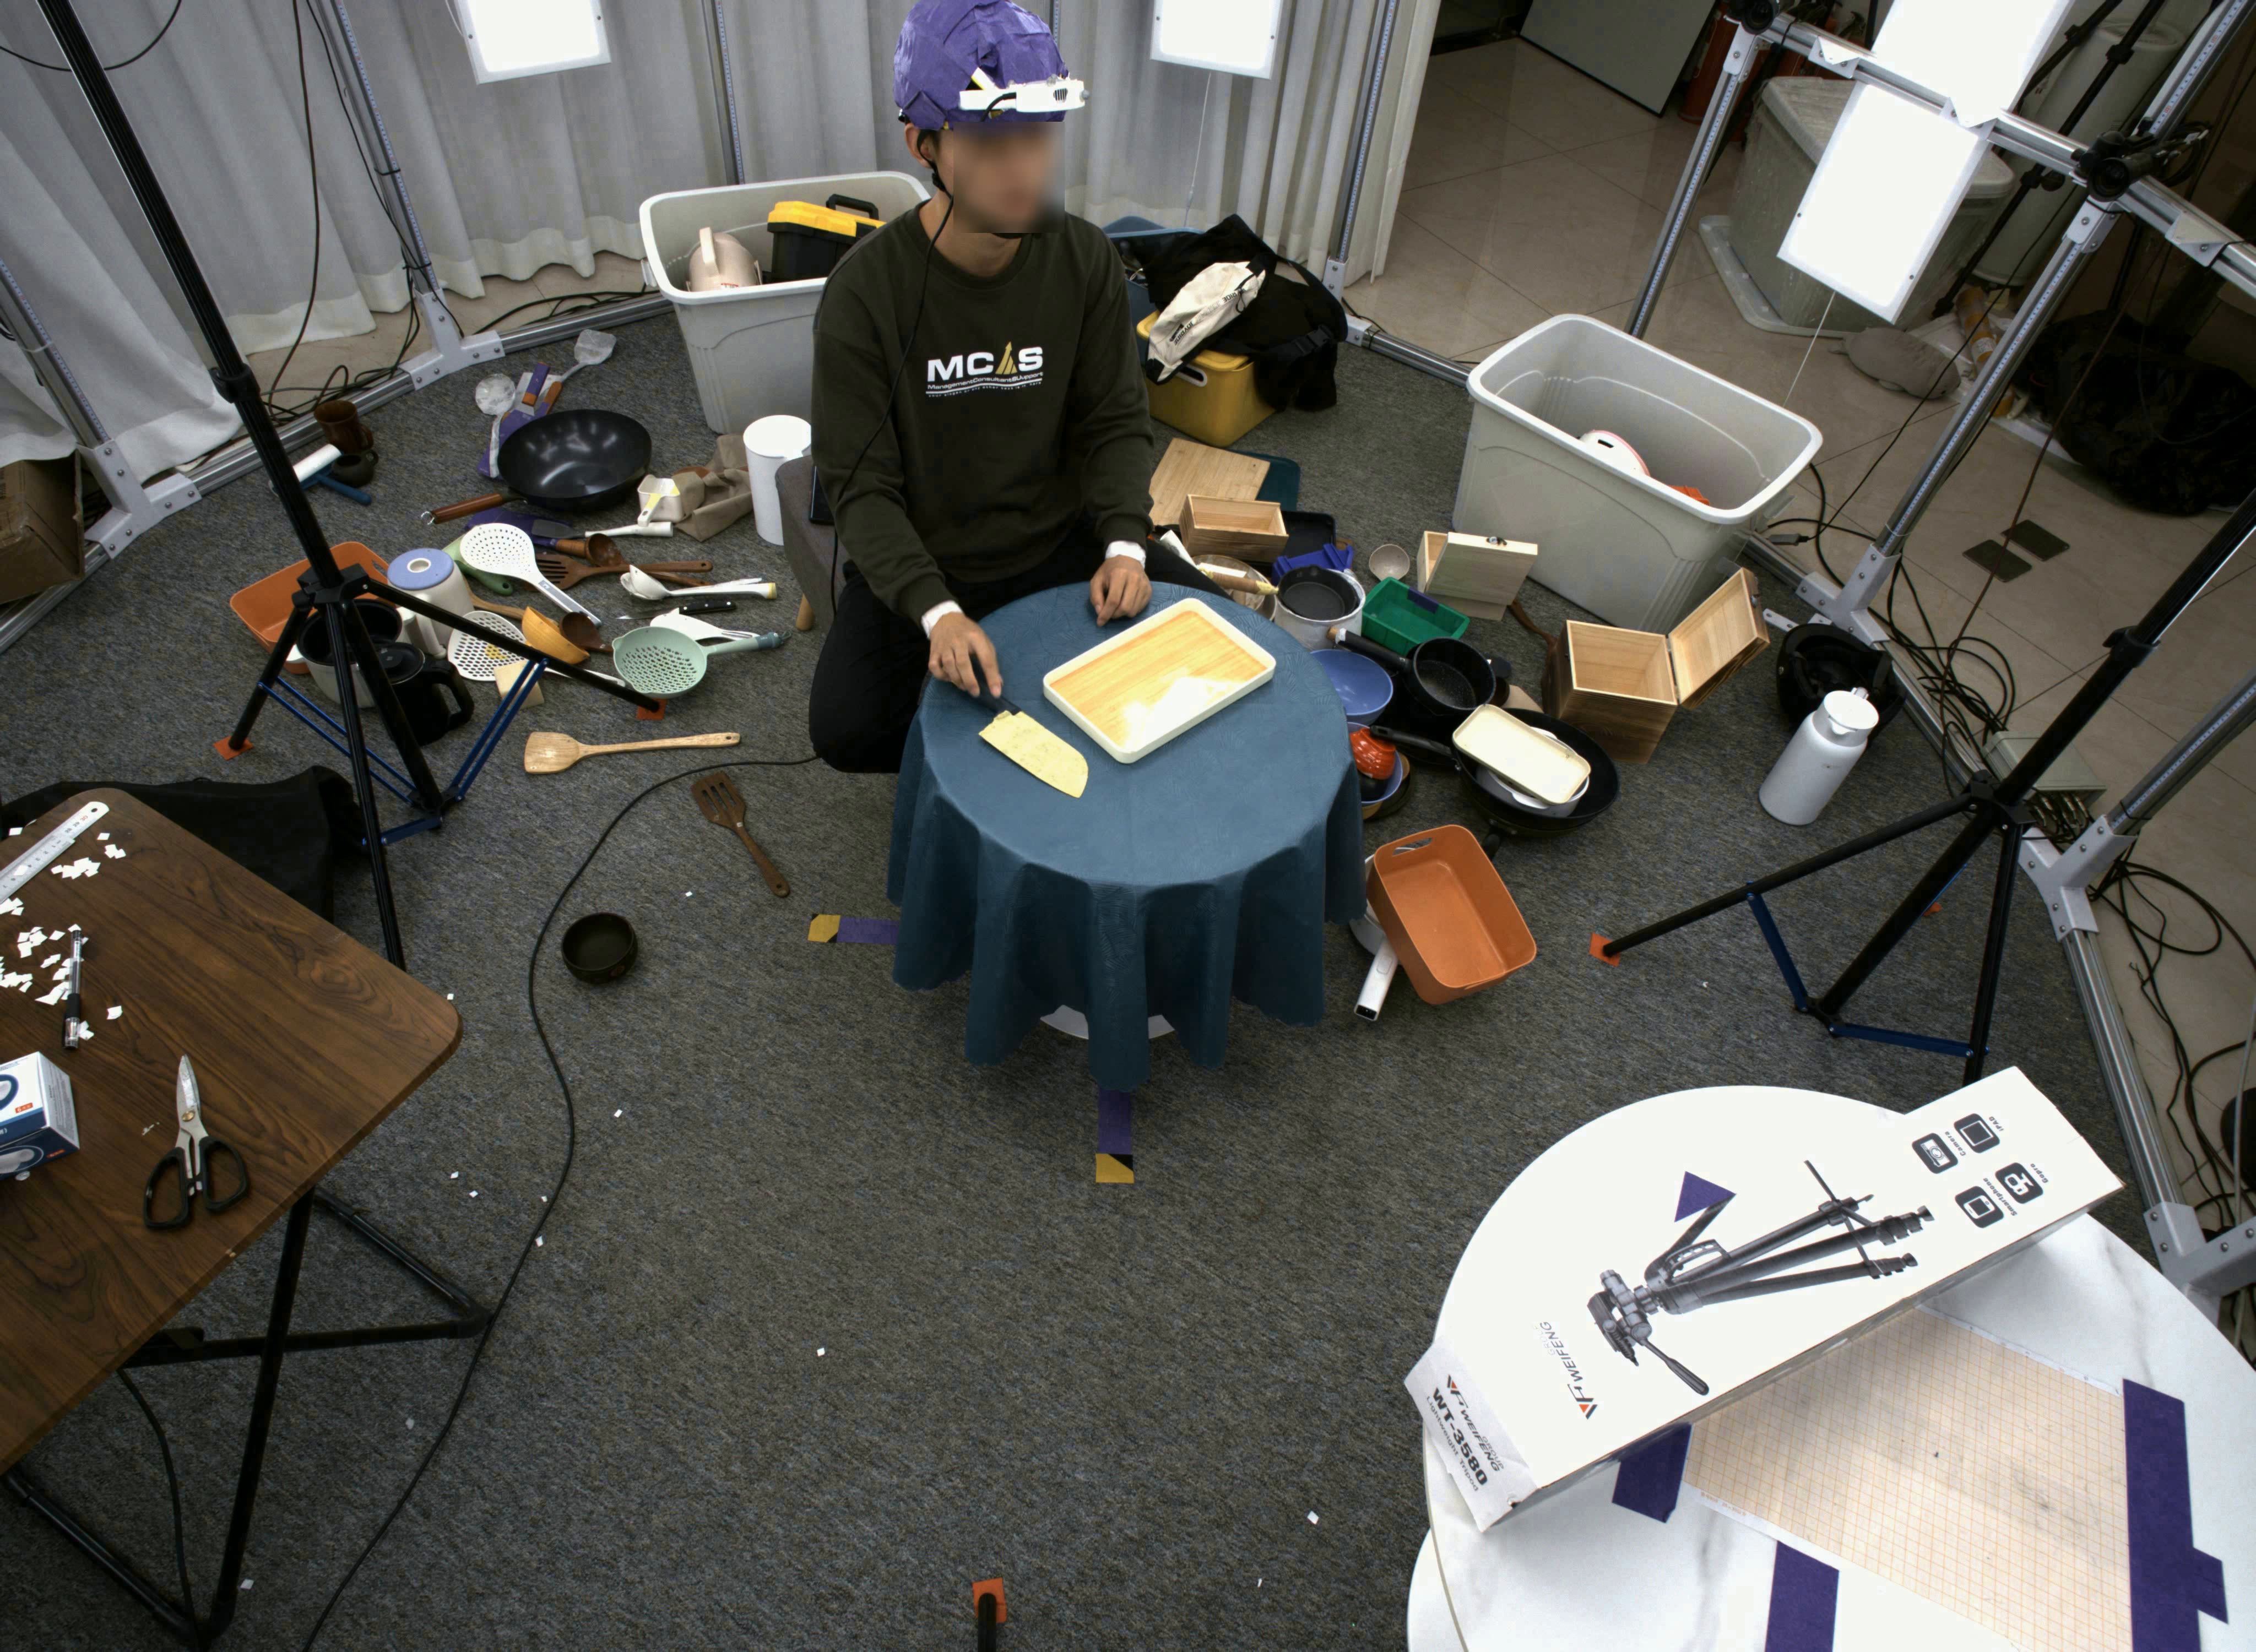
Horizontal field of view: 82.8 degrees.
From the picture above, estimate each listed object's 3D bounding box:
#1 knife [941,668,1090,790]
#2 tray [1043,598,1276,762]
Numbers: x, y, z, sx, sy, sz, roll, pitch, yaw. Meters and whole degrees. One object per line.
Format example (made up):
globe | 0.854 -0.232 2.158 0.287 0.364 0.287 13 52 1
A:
knife | -0.162 -0.133 1.762 0.293 0.026 0.082 37 56 24
tray | 0.046 -0.215 1.840 0.302 0.027 0.195 -32 57 -28
